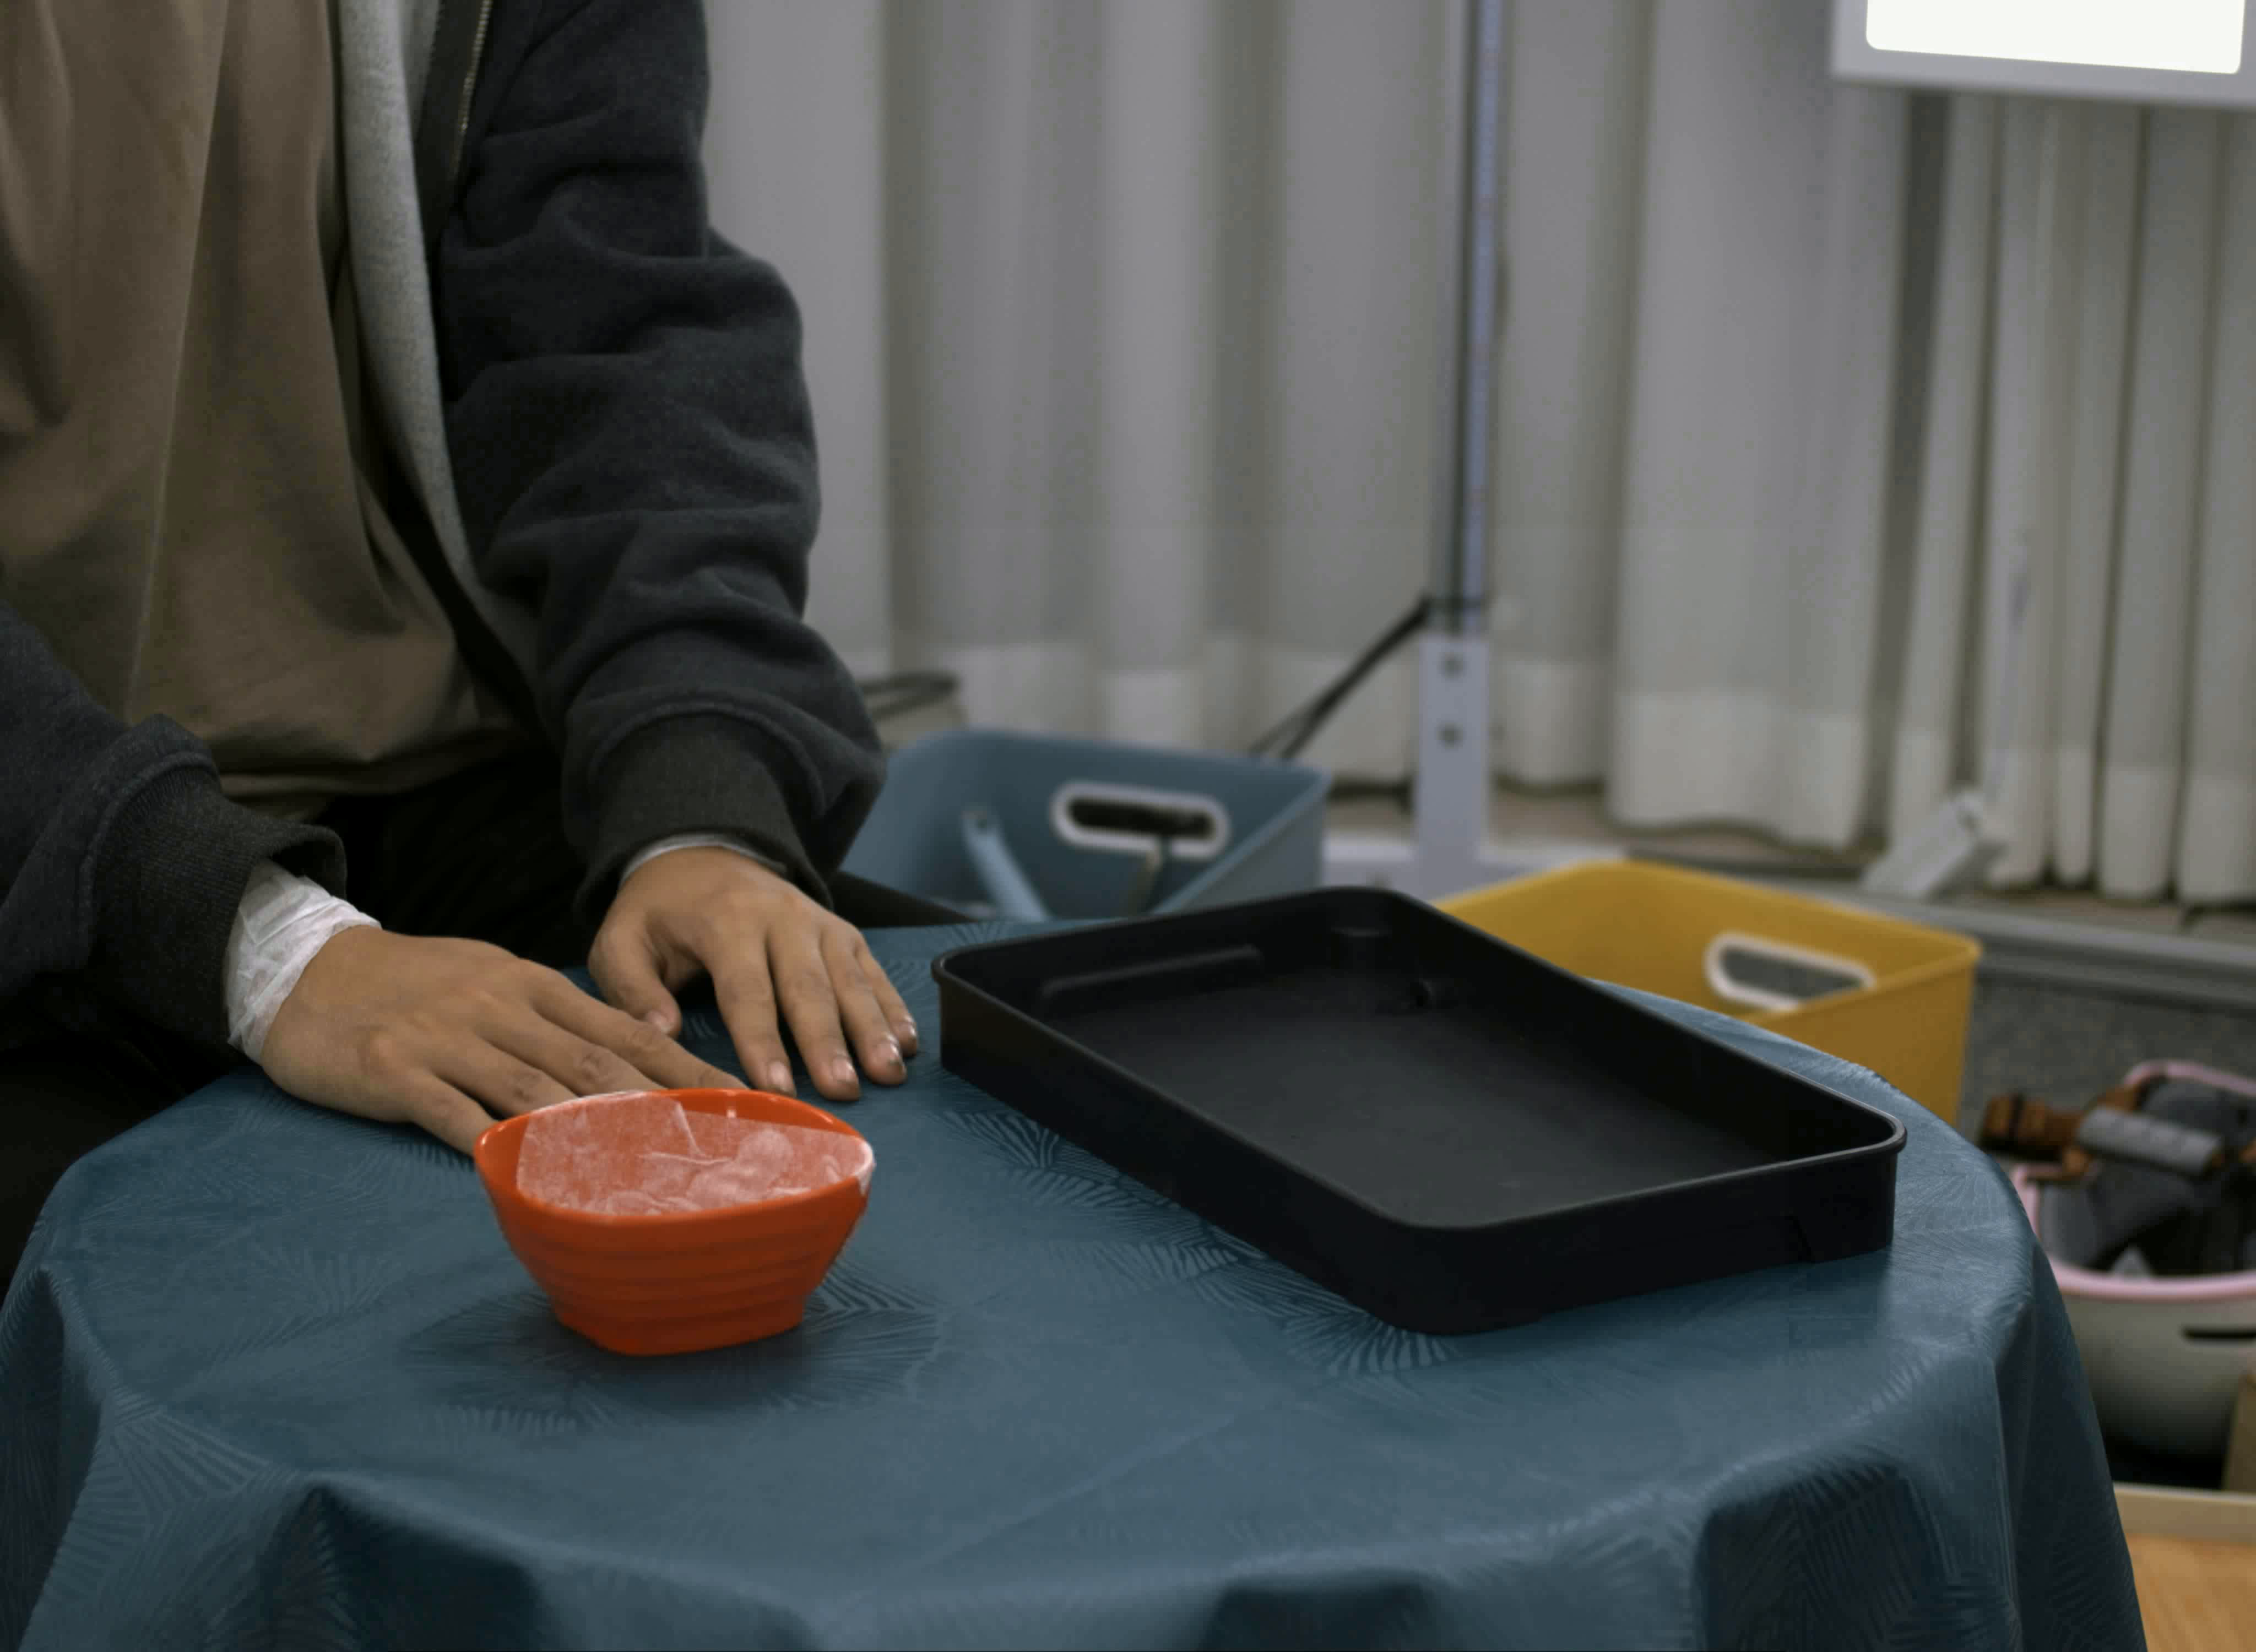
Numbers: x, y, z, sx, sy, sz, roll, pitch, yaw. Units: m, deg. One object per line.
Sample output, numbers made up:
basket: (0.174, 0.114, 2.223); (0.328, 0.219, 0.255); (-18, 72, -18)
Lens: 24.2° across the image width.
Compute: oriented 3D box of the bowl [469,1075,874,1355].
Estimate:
bowl: (-0.131, 0.114, 1.510); (0.118, 0.052, 0.118); (1, 17, 0)

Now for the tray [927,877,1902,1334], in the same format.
tray: (0.083, 0.082, 1.664); (0.185, 0.037, 0.314); (-9, 18, -29)
